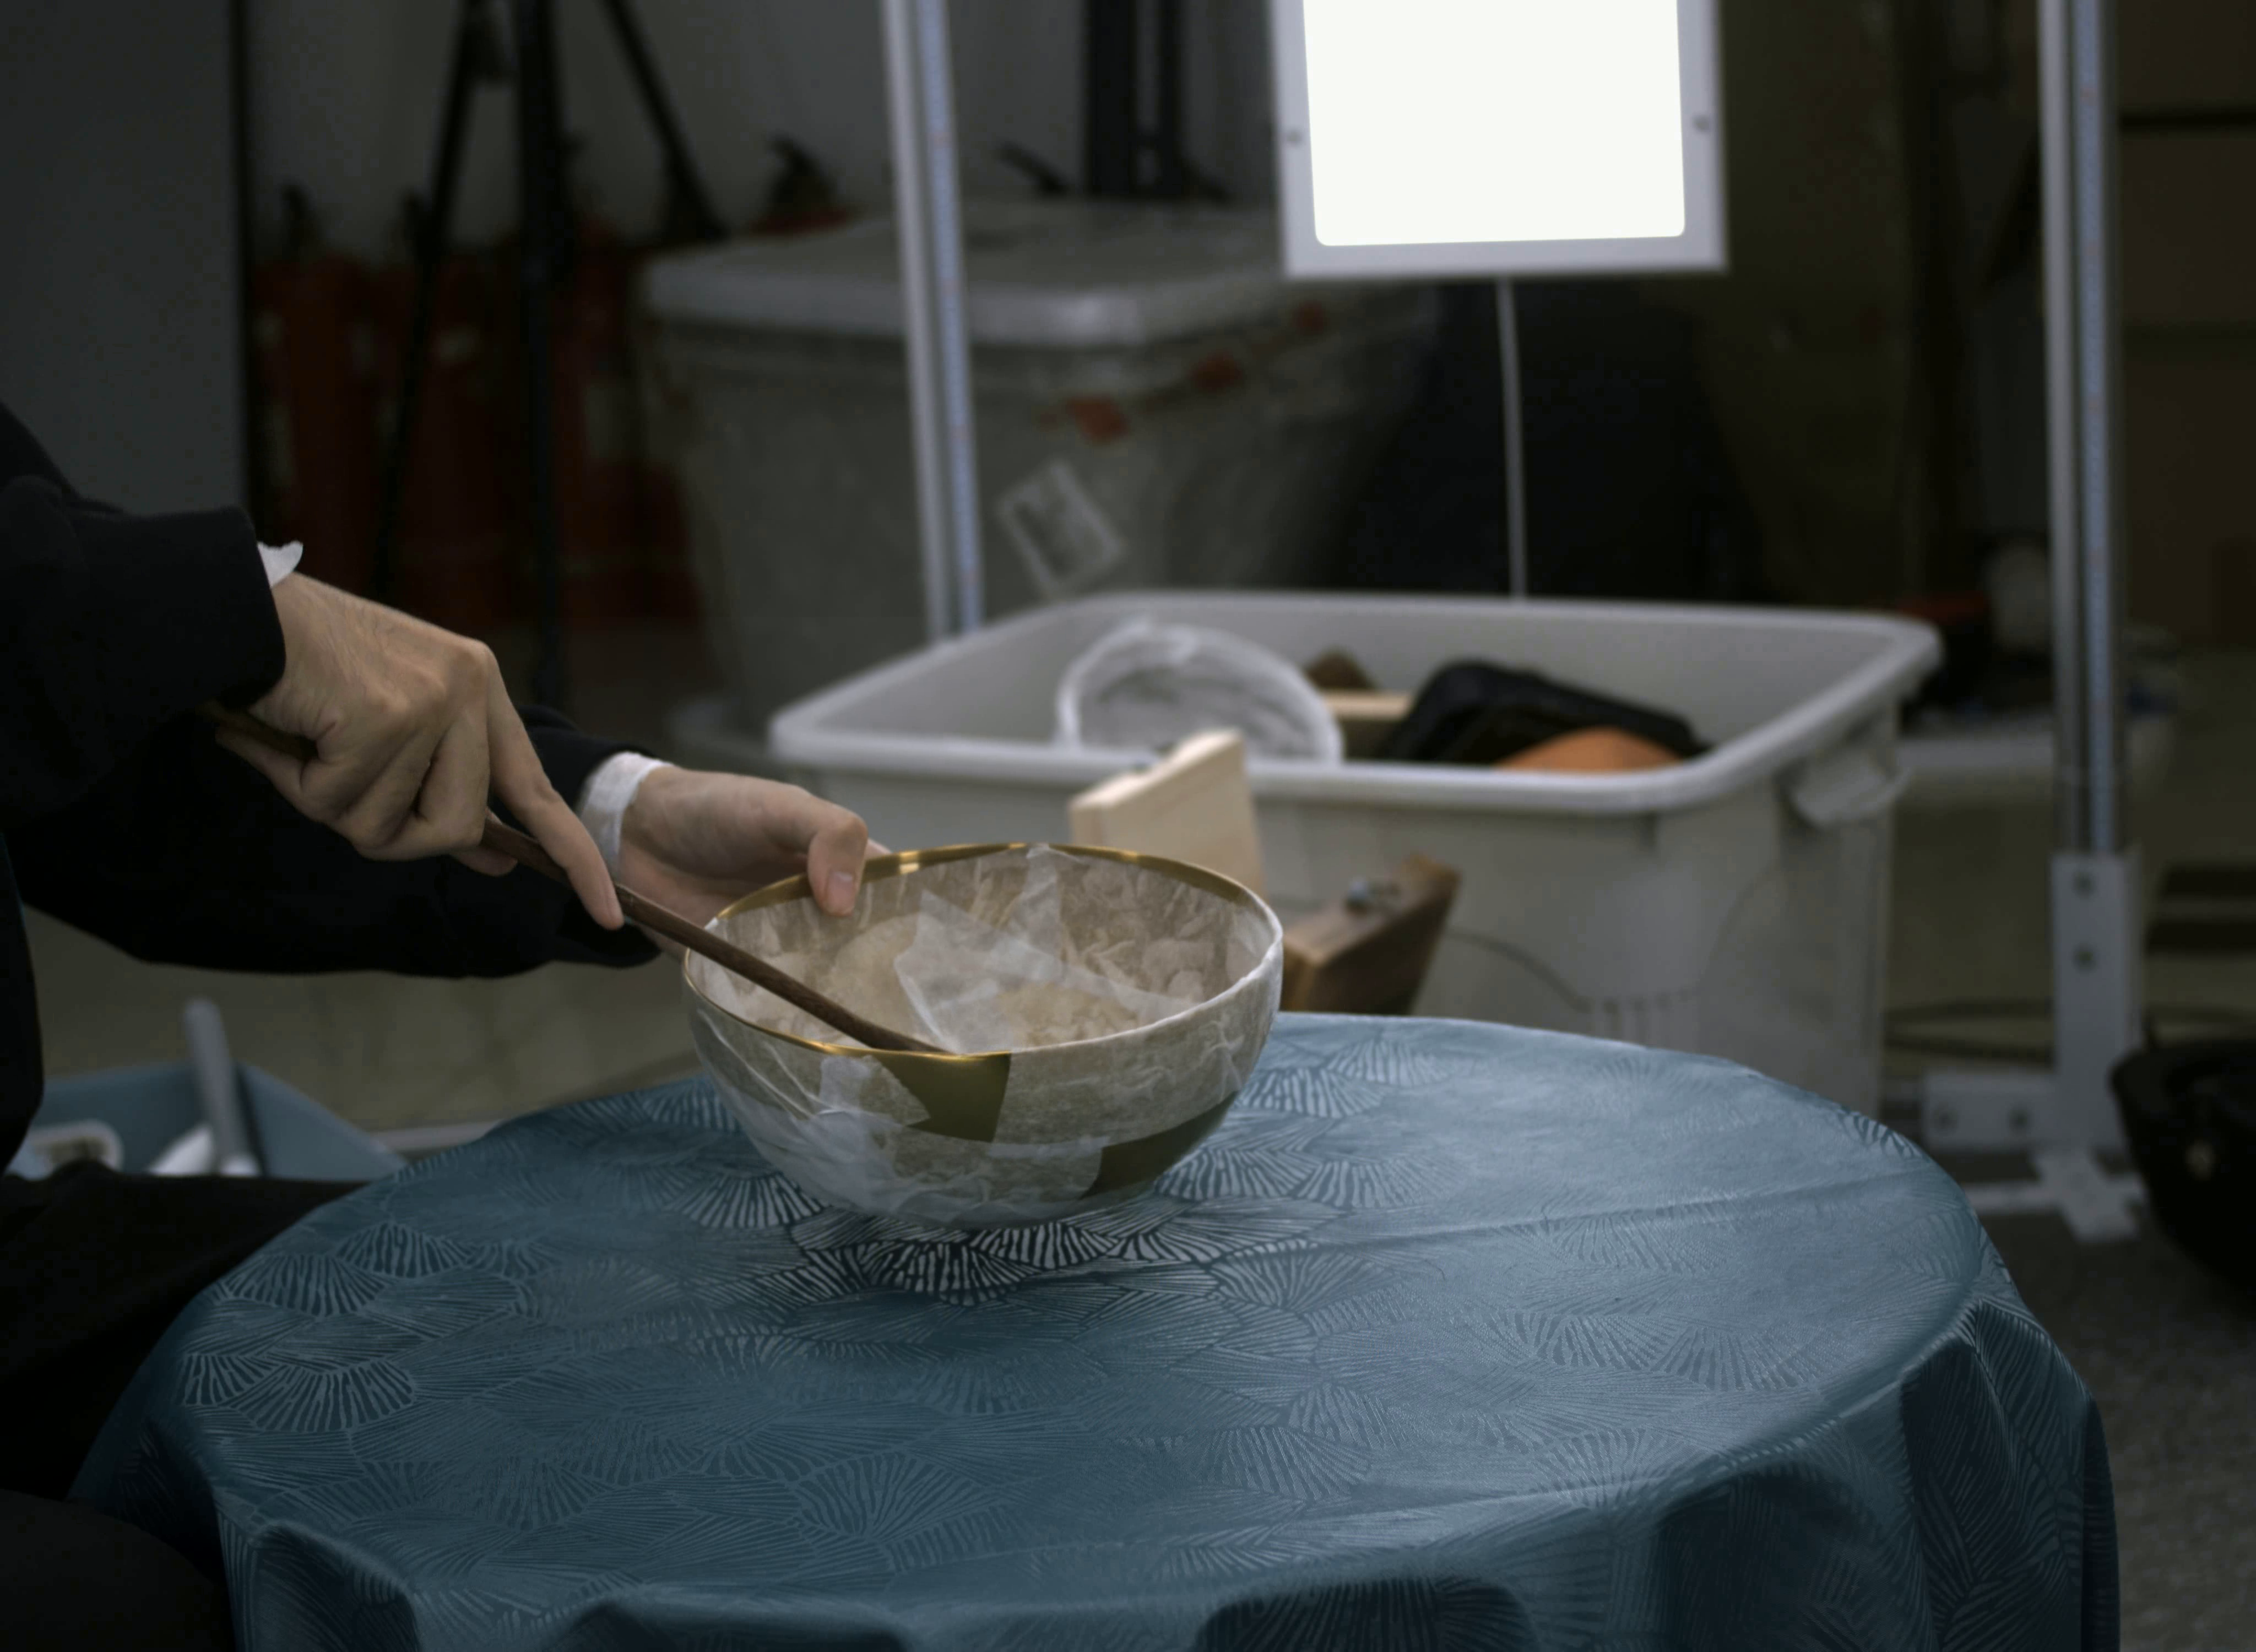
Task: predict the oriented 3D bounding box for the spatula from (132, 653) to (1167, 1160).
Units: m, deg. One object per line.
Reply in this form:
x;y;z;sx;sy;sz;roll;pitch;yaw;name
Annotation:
-0.152;0.028;1.797;0.380;0.016;0.097;28;-3;-21;spatula

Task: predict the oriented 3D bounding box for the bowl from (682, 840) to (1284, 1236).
-0.048;0.080;1.852;0.214;0.095;0.214;-5;19;0;bowl
